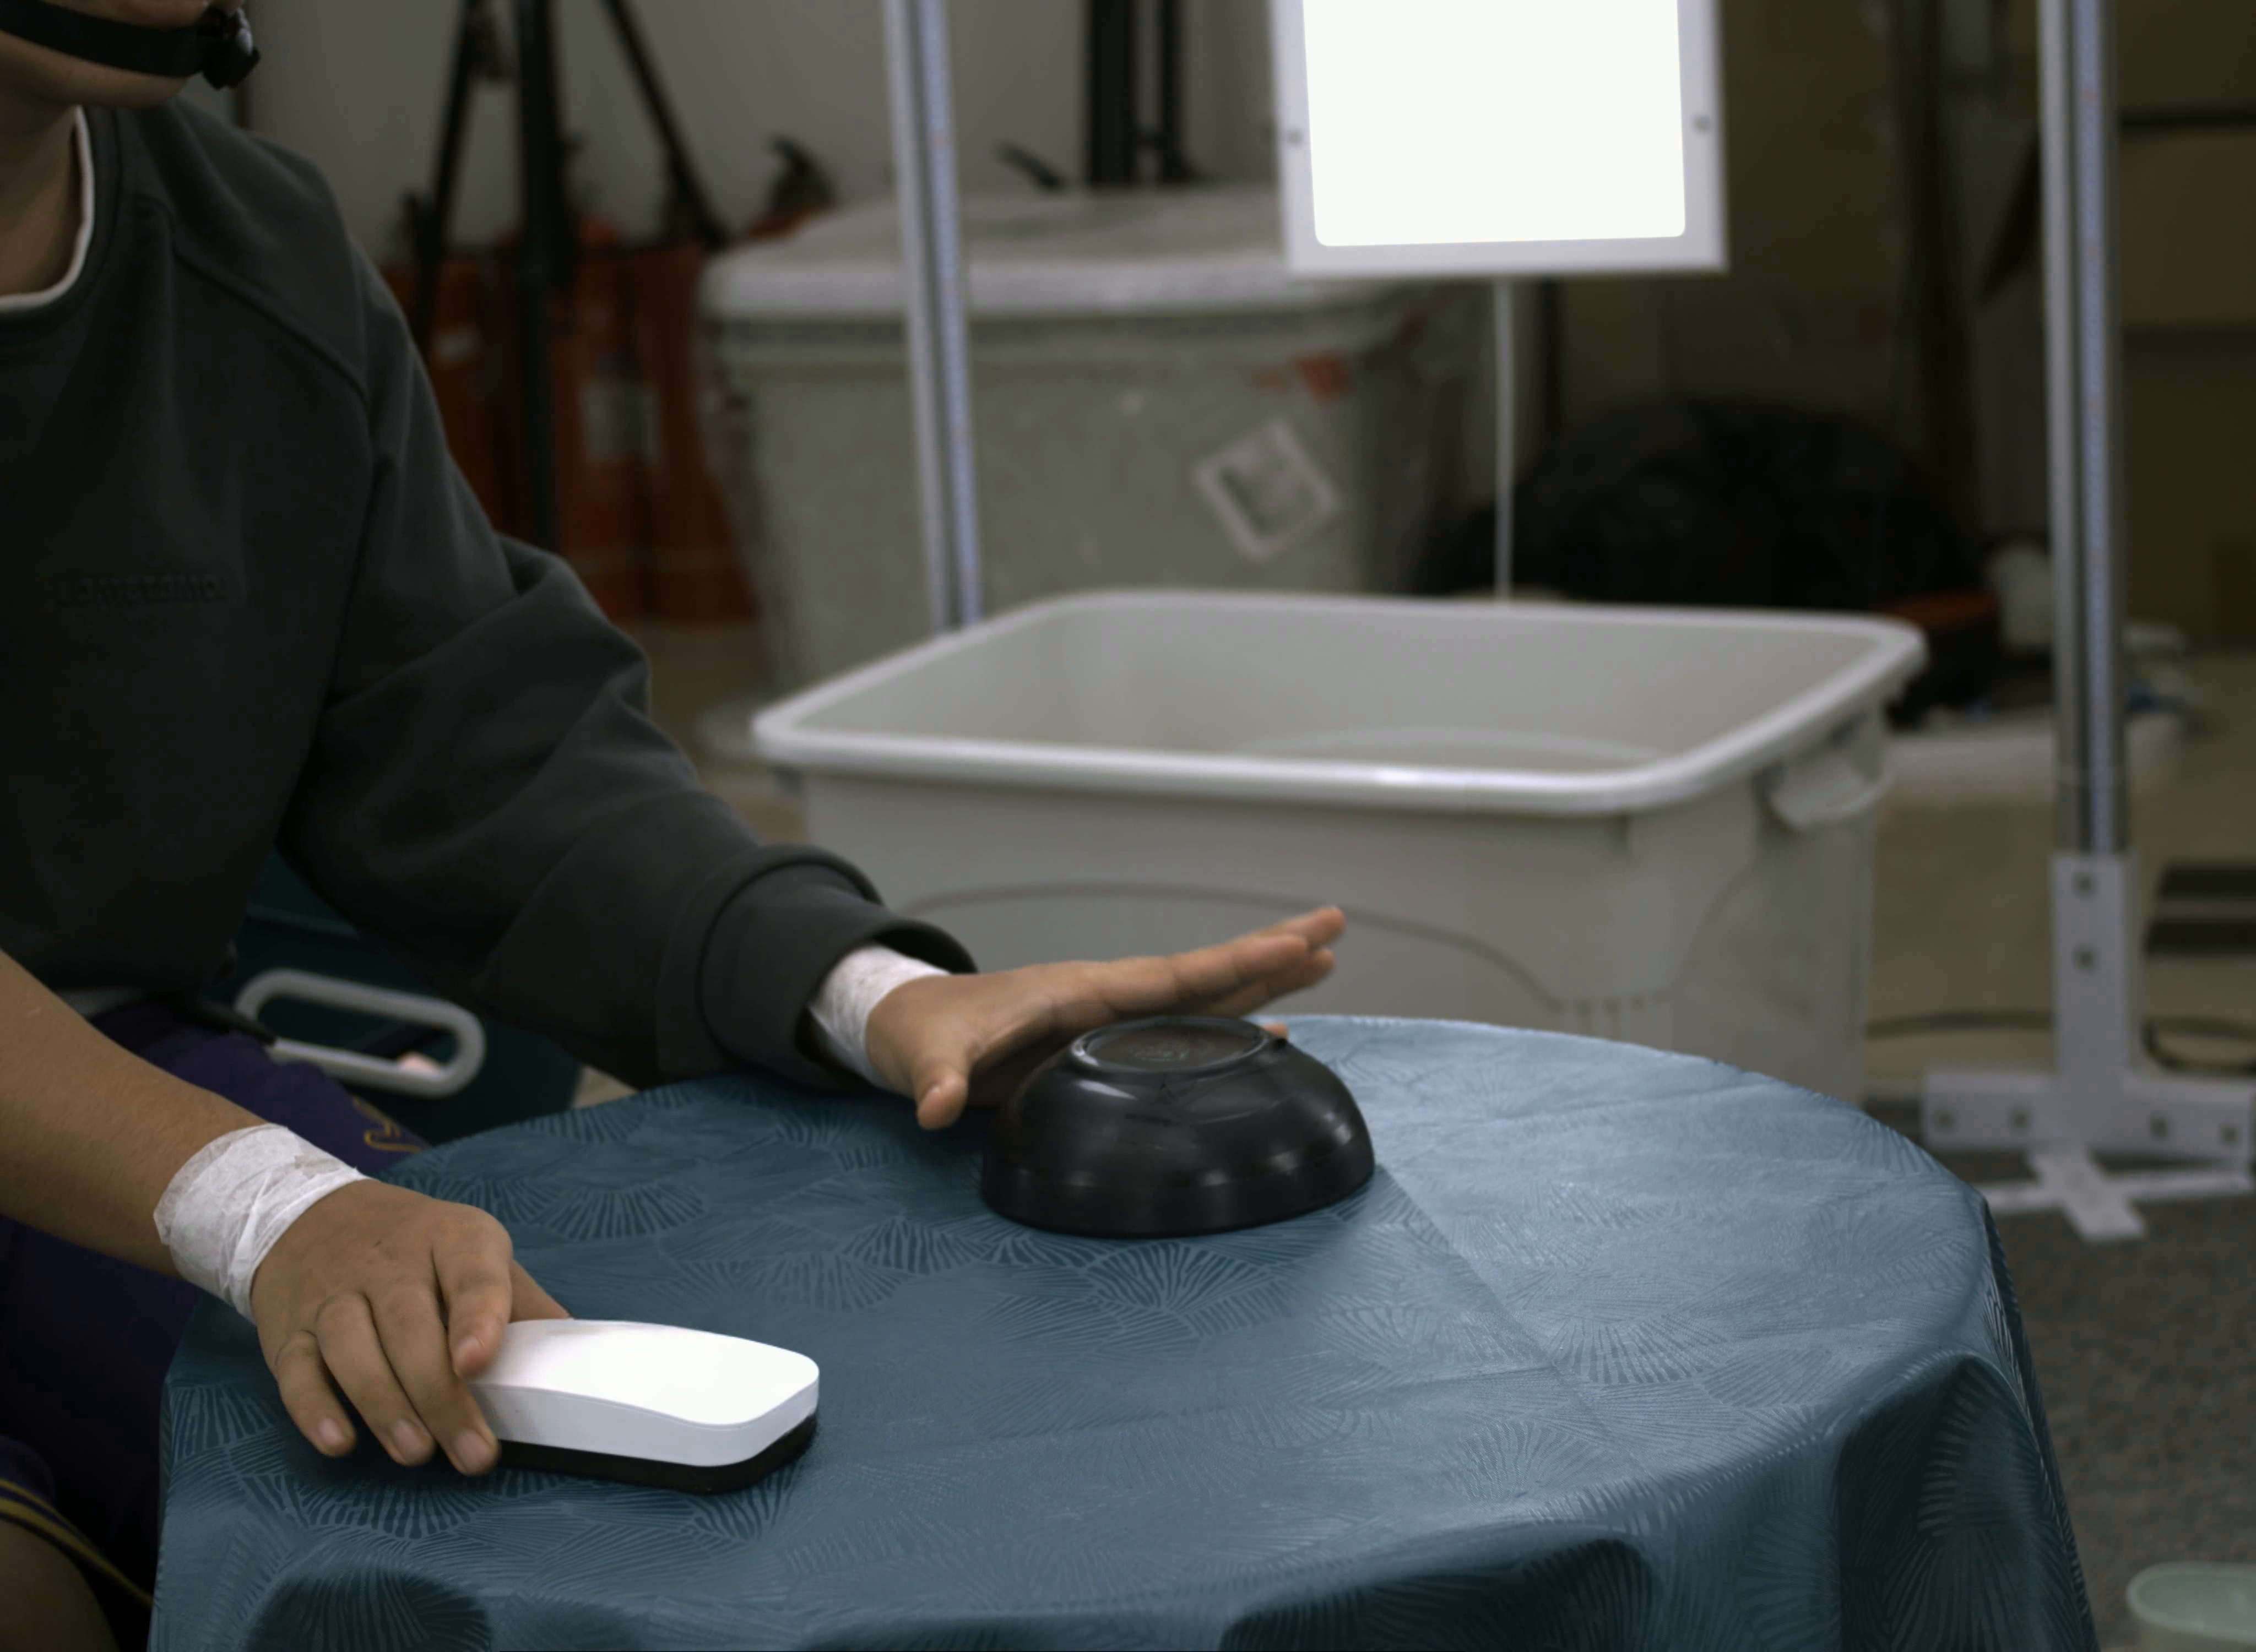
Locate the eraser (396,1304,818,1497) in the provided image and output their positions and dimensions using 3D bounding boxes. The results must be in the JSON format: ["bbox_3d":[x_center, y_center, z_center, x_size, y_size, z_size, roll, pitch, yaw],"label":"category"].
[{"bbox_3d":[-0.159,0.174,1.692,0.134,0.034,0.062,6,16,33],"label":"eraser"}]

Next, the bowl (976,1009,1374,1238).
[{"bbox_3d":[0.015,0.097,1.904,0.139,0.050,0.140,-5,15,0],"label":"bowl"}]
